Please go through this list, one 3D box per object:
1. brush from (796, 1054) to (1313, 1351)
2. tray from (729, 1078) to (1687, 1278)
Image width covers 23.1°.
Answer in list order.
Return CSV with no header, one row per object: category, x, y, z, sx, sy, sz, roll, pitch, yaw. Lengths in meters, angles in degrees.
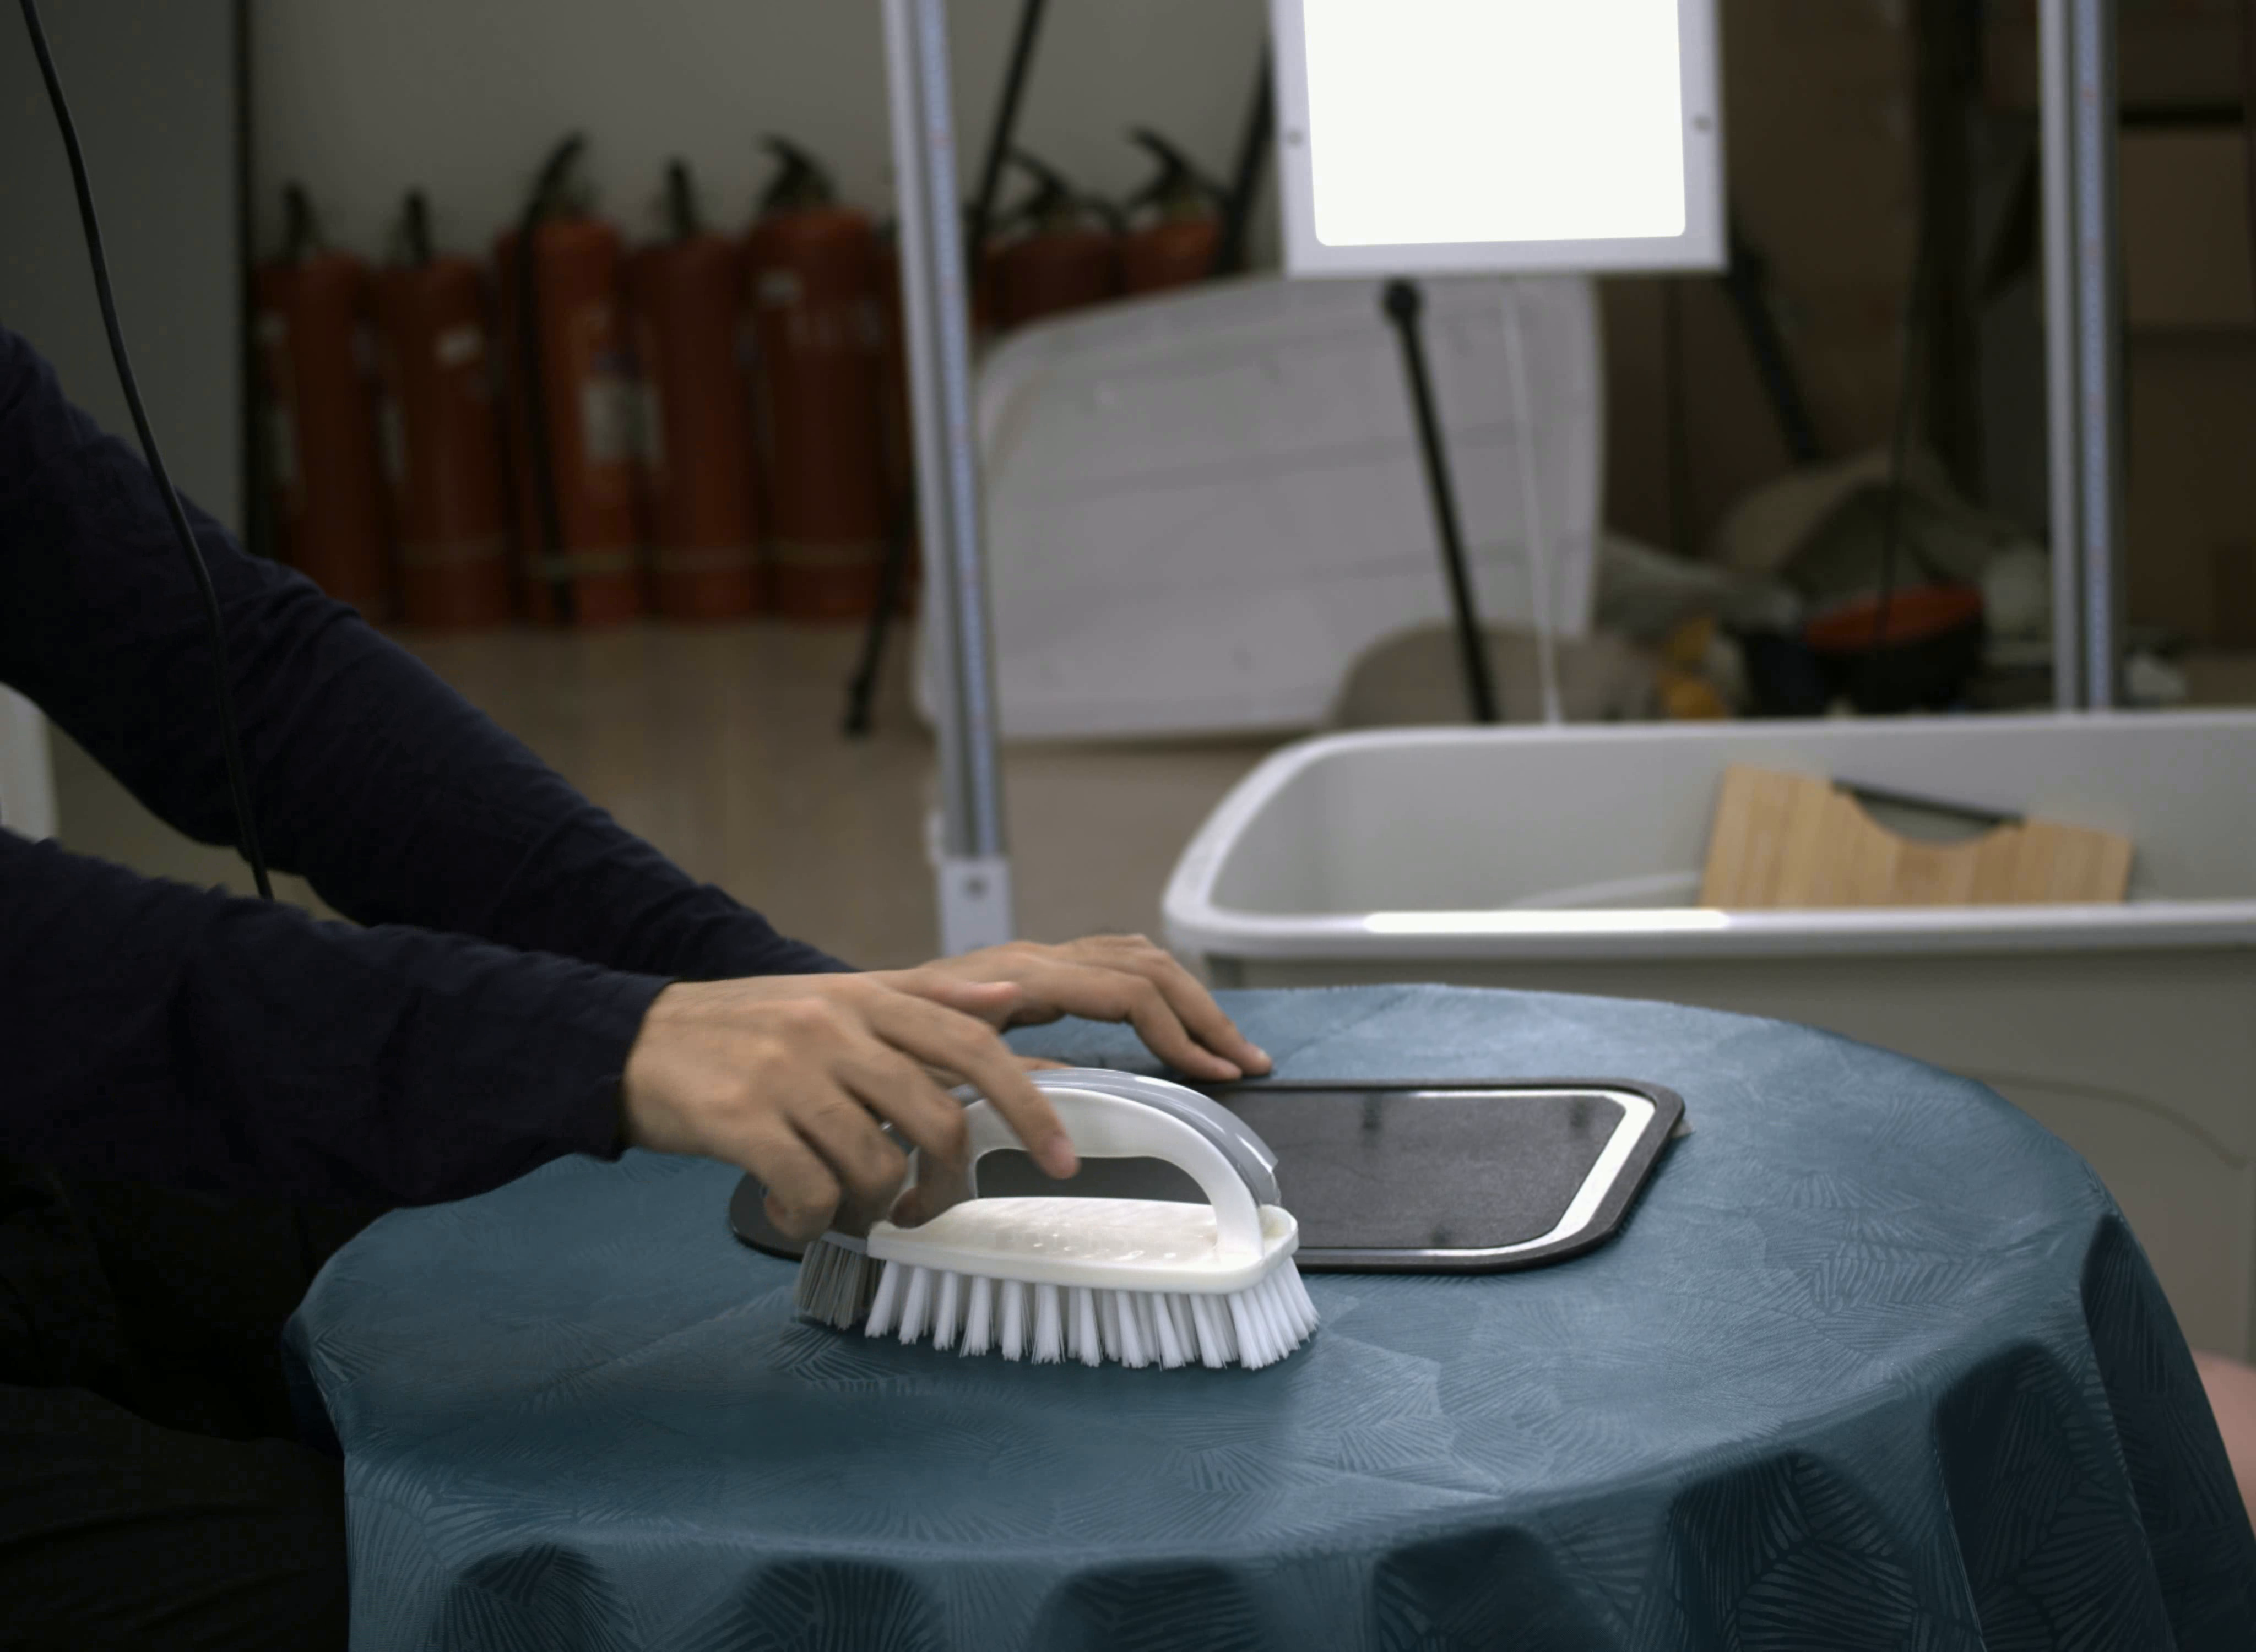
brush,-0.031,0.119,1.745,0.178,0.094,0.060,-1,11,27
tray,0.023,0.118,1.911,0.329,0.010,0.207,-1,14,19
